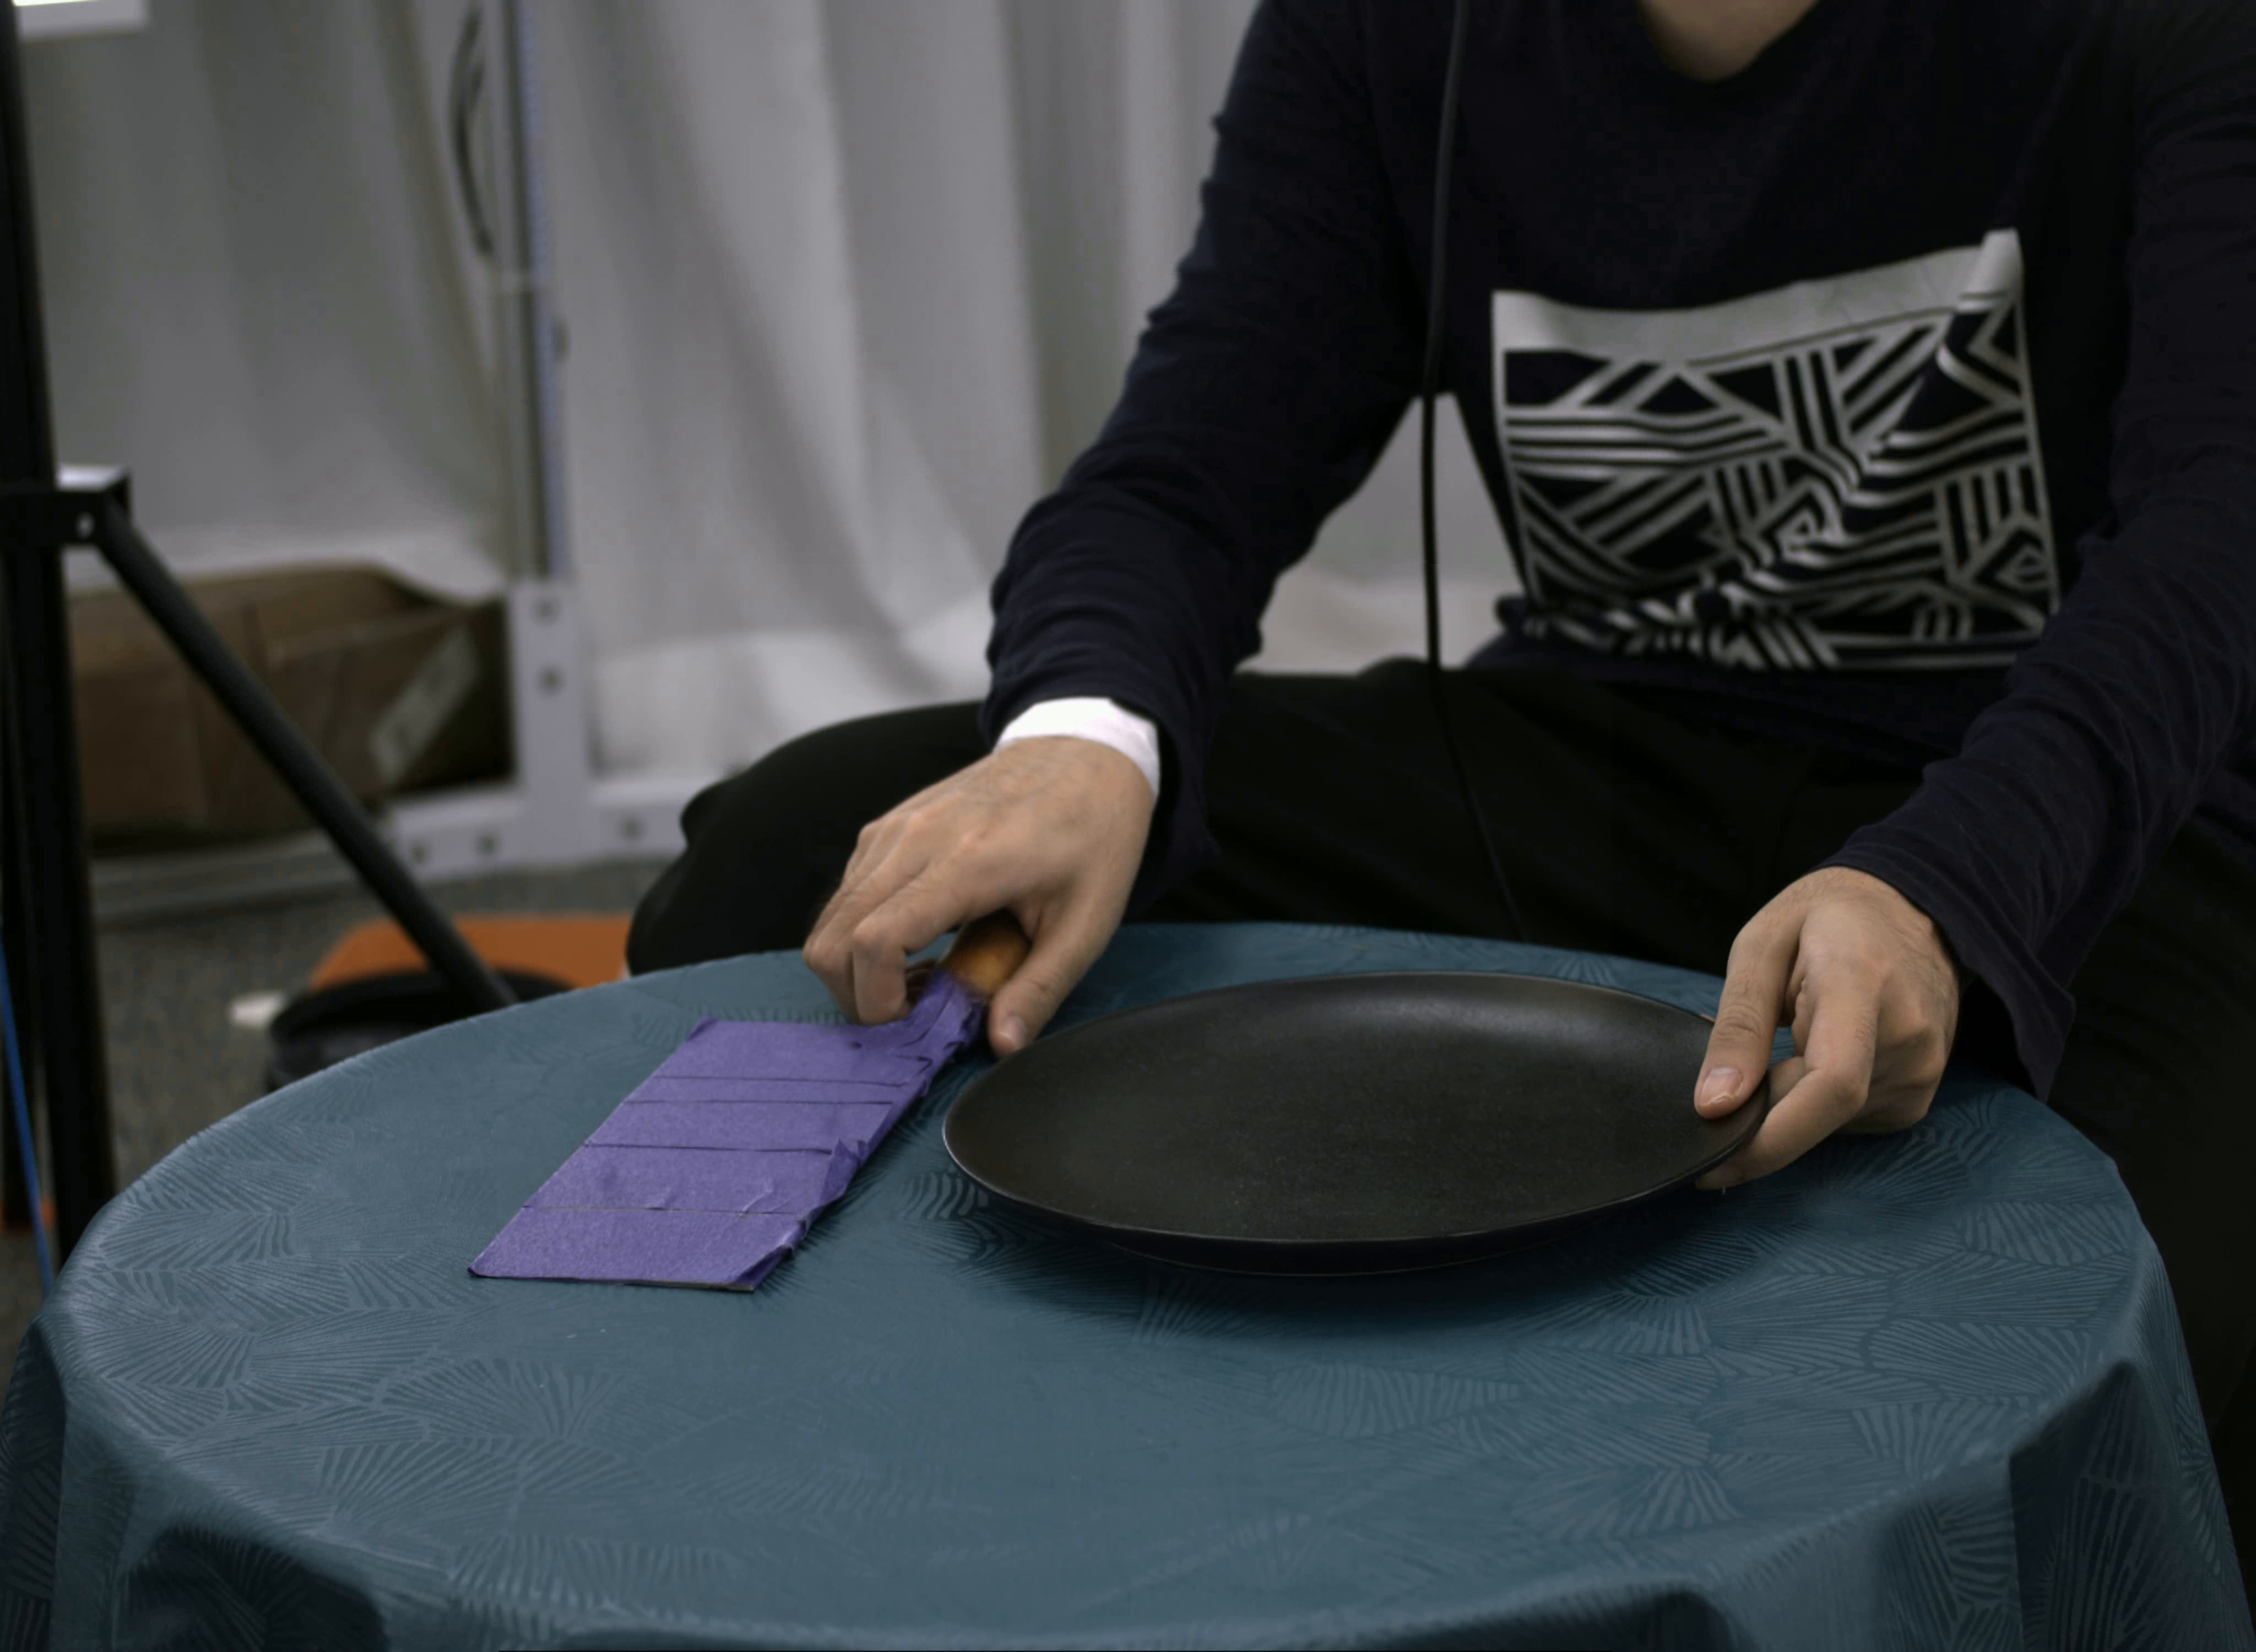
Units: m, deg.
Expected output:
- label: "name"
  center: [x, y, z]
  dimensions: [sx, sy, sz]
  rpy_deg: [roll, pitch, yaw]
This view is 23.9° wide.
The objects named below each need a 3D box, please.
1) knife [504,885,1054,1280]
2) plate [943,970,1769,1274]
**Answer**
- label: "knife"
  center: [-0.105, 0.076, 1.643]
  dimensions: [0.104, 0.032, 0.313]
  rpy_deg: [2, 17, 15]
- label: "plate"
  center: [0.067, 0.090, 1.562]
  dimensions: [0.243, 0.023, 0.245]
  rpy_deg: [-5, 16, 0]
